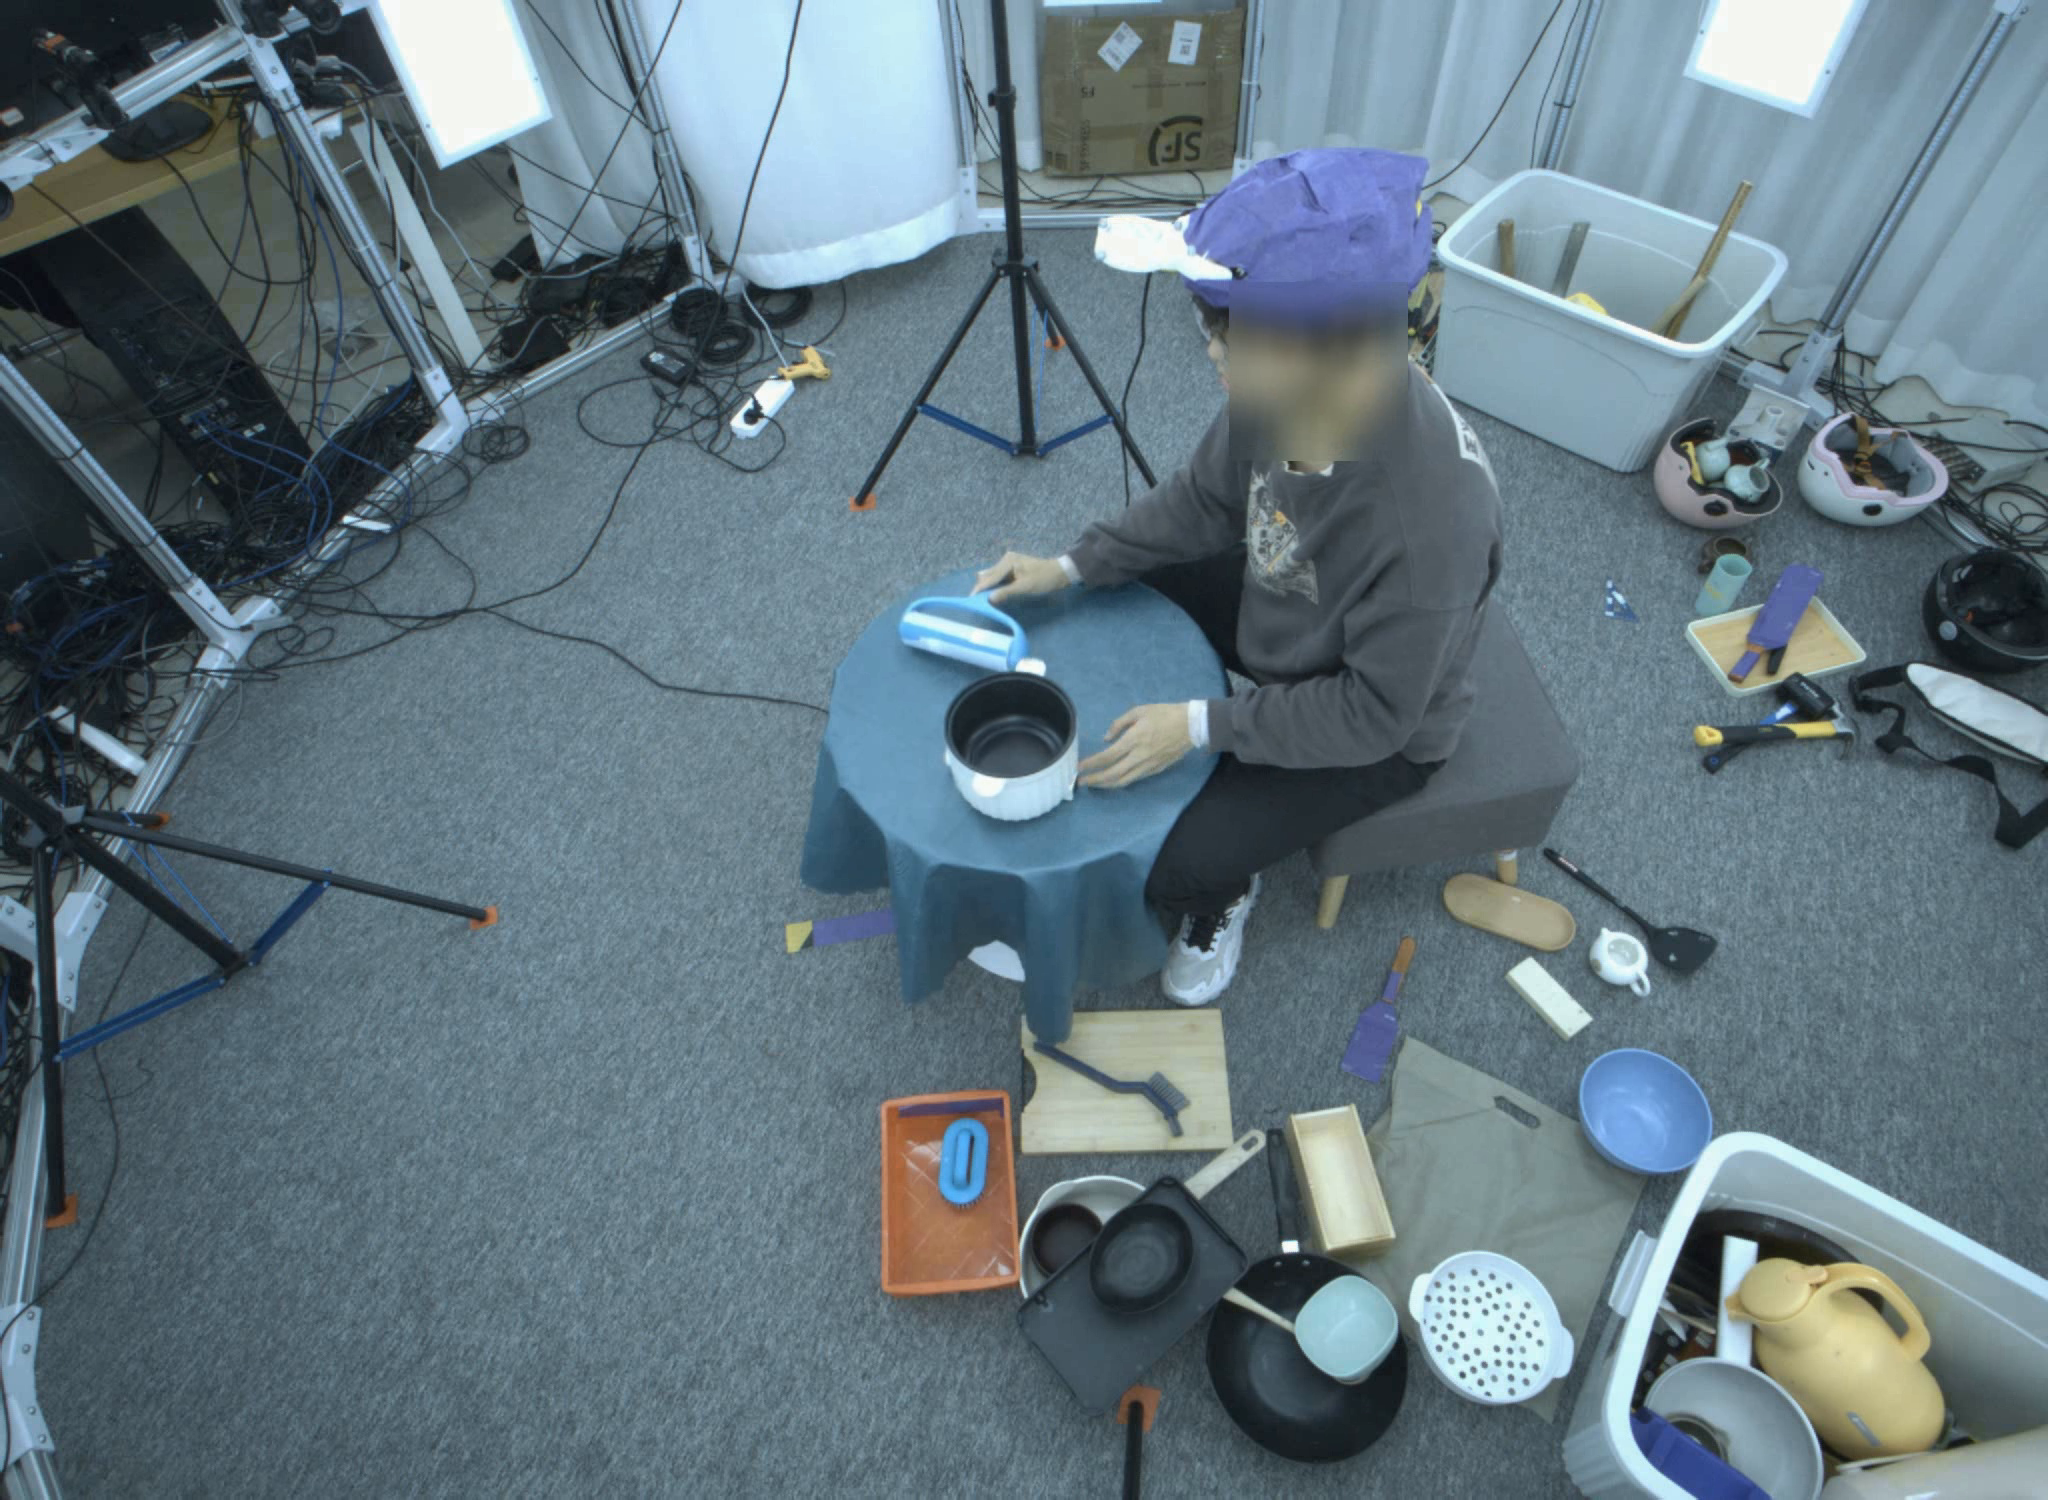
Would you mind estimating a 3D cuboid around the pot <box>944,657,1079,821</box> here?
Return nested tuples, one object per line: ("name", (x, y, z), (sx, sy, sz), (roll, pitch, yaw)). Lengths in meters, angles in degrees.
("pot", (-0.020, 0.002, 1.698), (0.189, 0.144, 0.239), (13, 54, 8))

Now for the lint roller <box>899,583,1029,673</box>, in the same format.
("lint roller", (-0.067, -0.209, 1.876), (0.225, 0.069, 0.180), (15, 58, 26))
